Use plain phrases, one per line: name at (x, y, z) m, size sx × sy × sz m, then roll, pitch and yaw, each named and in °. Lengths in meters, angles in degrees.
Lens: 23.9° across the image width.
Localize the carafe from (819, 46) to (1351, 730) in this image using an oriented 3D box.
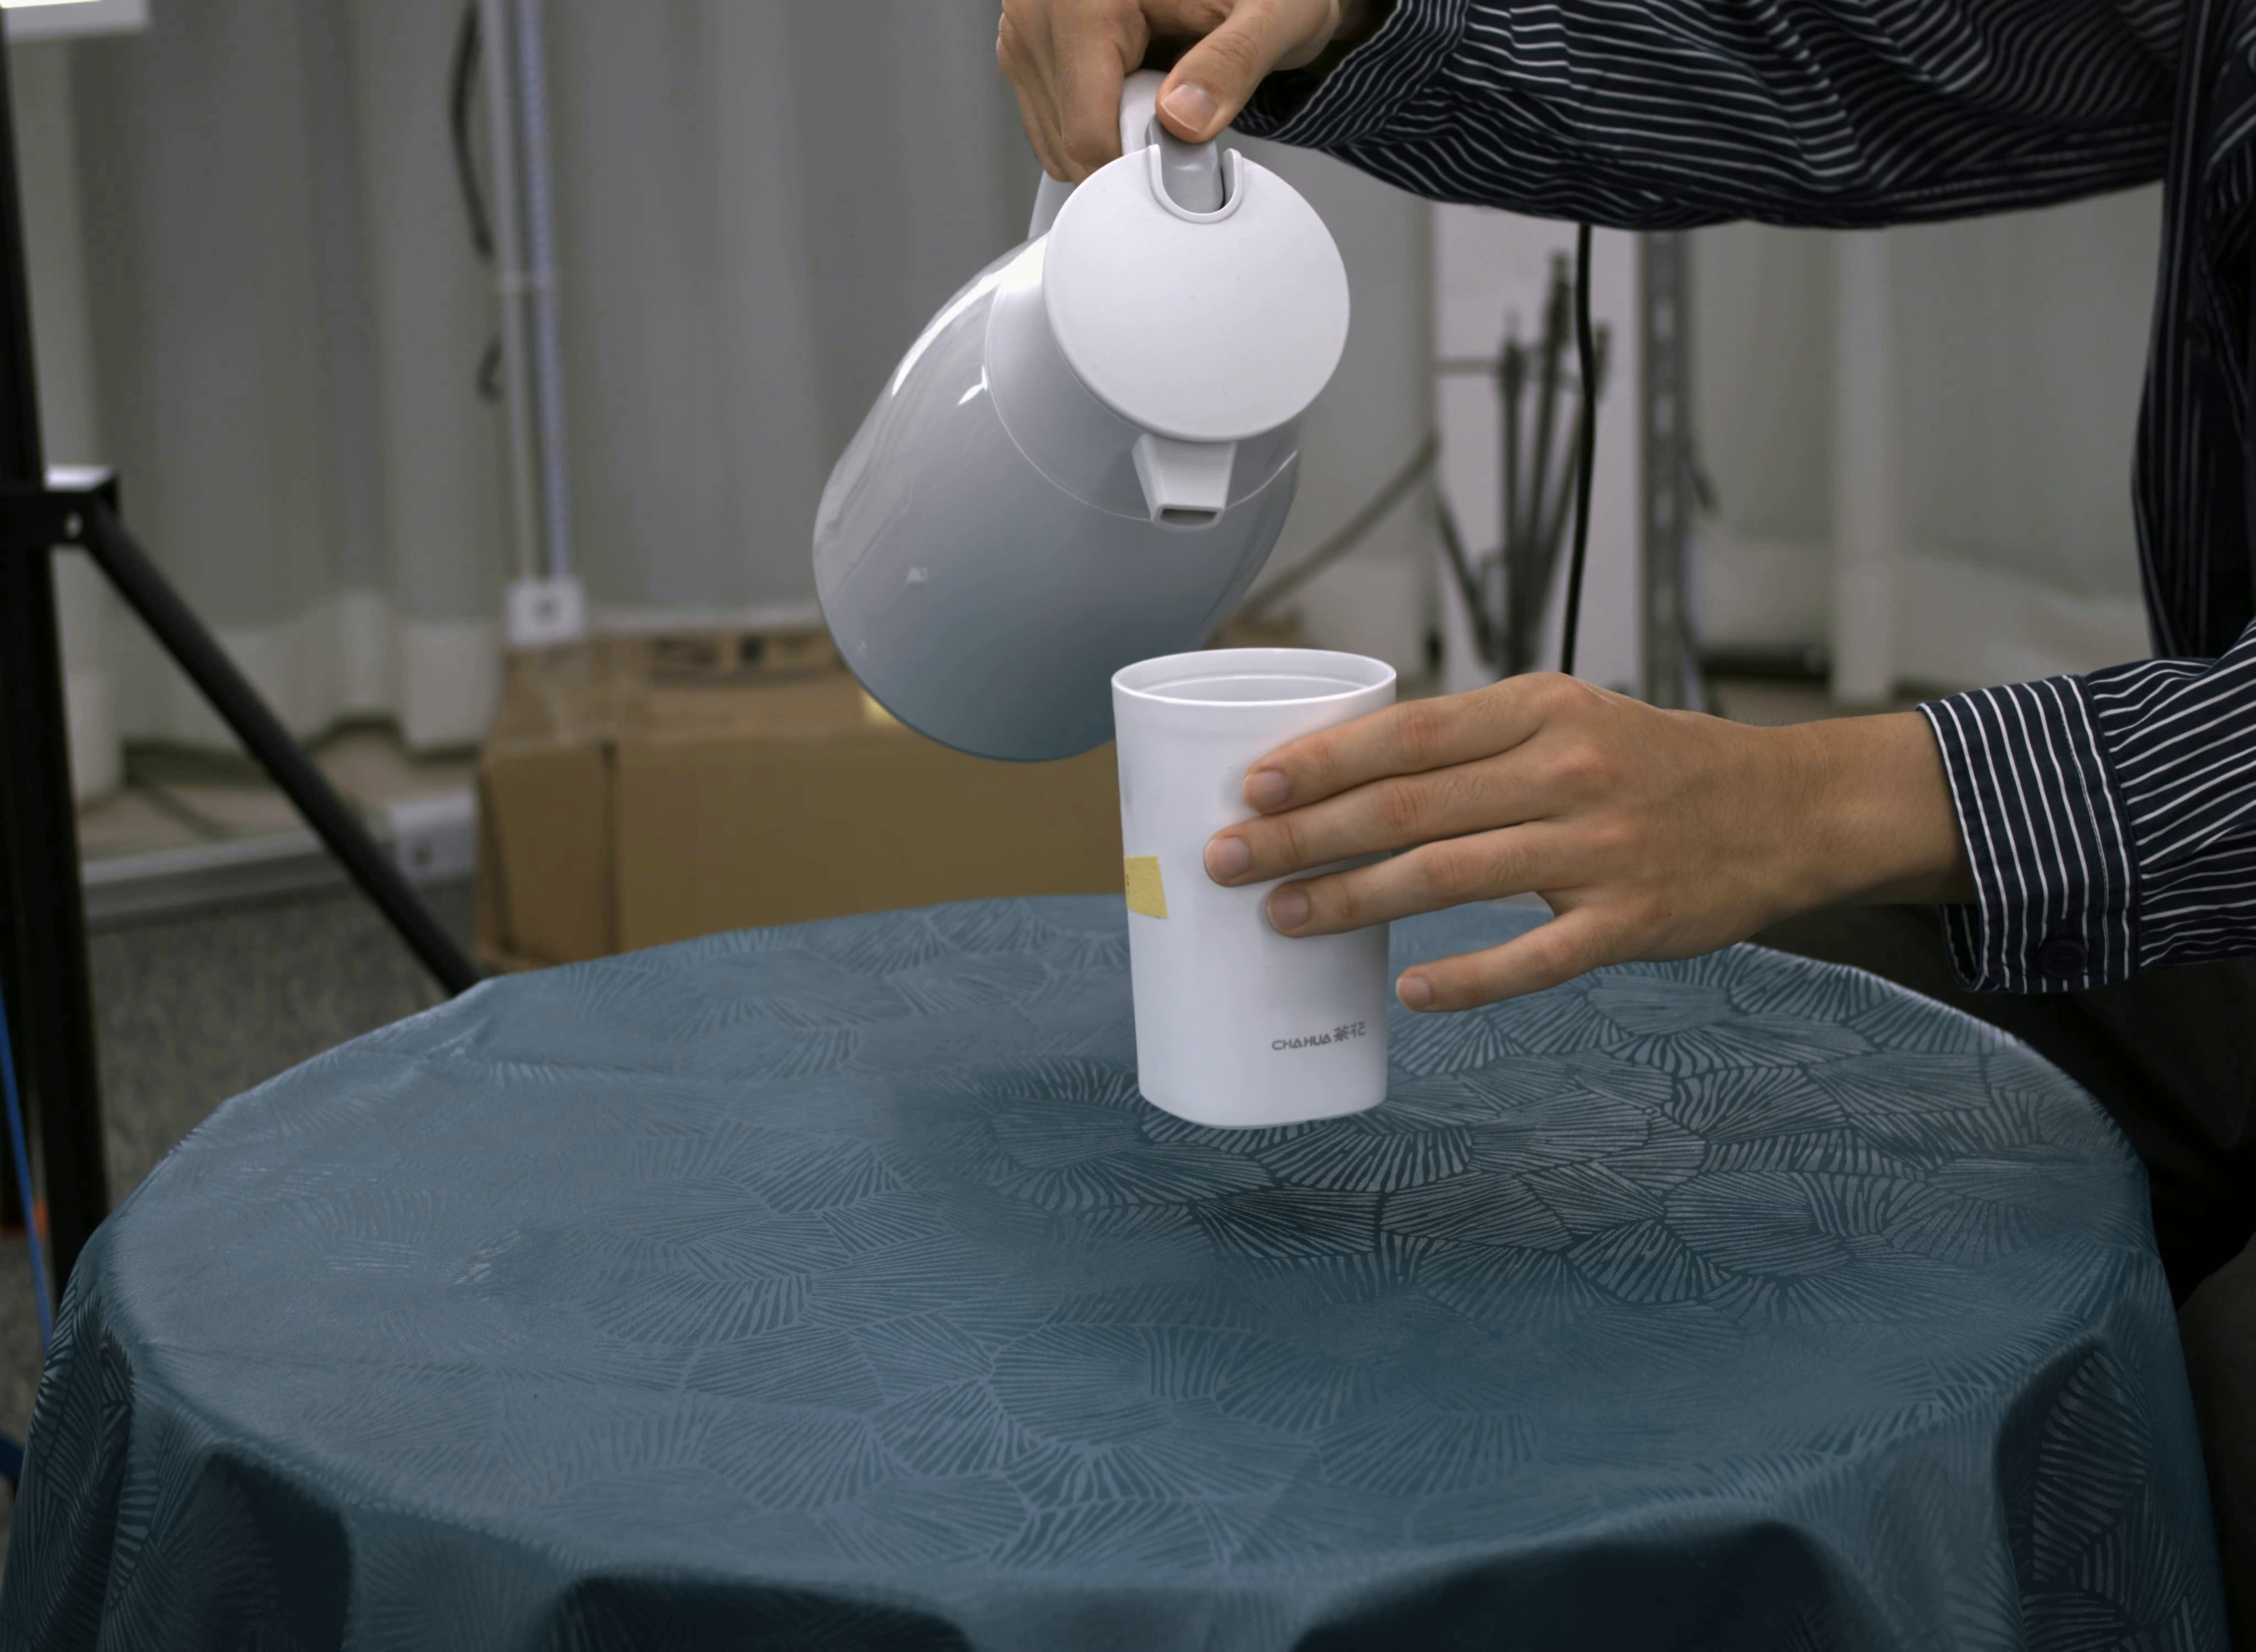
carafe at (-0.011, -0.142, 1.629) m, size 0.130 × 0.169 × 0.250 m, roll -3°, pitch -14°, yaw -14°

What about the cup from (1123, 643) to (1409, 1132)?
cup at (0.040, 0.018, 1.508) m, size 0.081 × 0.125 × 0.082 m, roll -2°, pitch 12°, yaw -1°
